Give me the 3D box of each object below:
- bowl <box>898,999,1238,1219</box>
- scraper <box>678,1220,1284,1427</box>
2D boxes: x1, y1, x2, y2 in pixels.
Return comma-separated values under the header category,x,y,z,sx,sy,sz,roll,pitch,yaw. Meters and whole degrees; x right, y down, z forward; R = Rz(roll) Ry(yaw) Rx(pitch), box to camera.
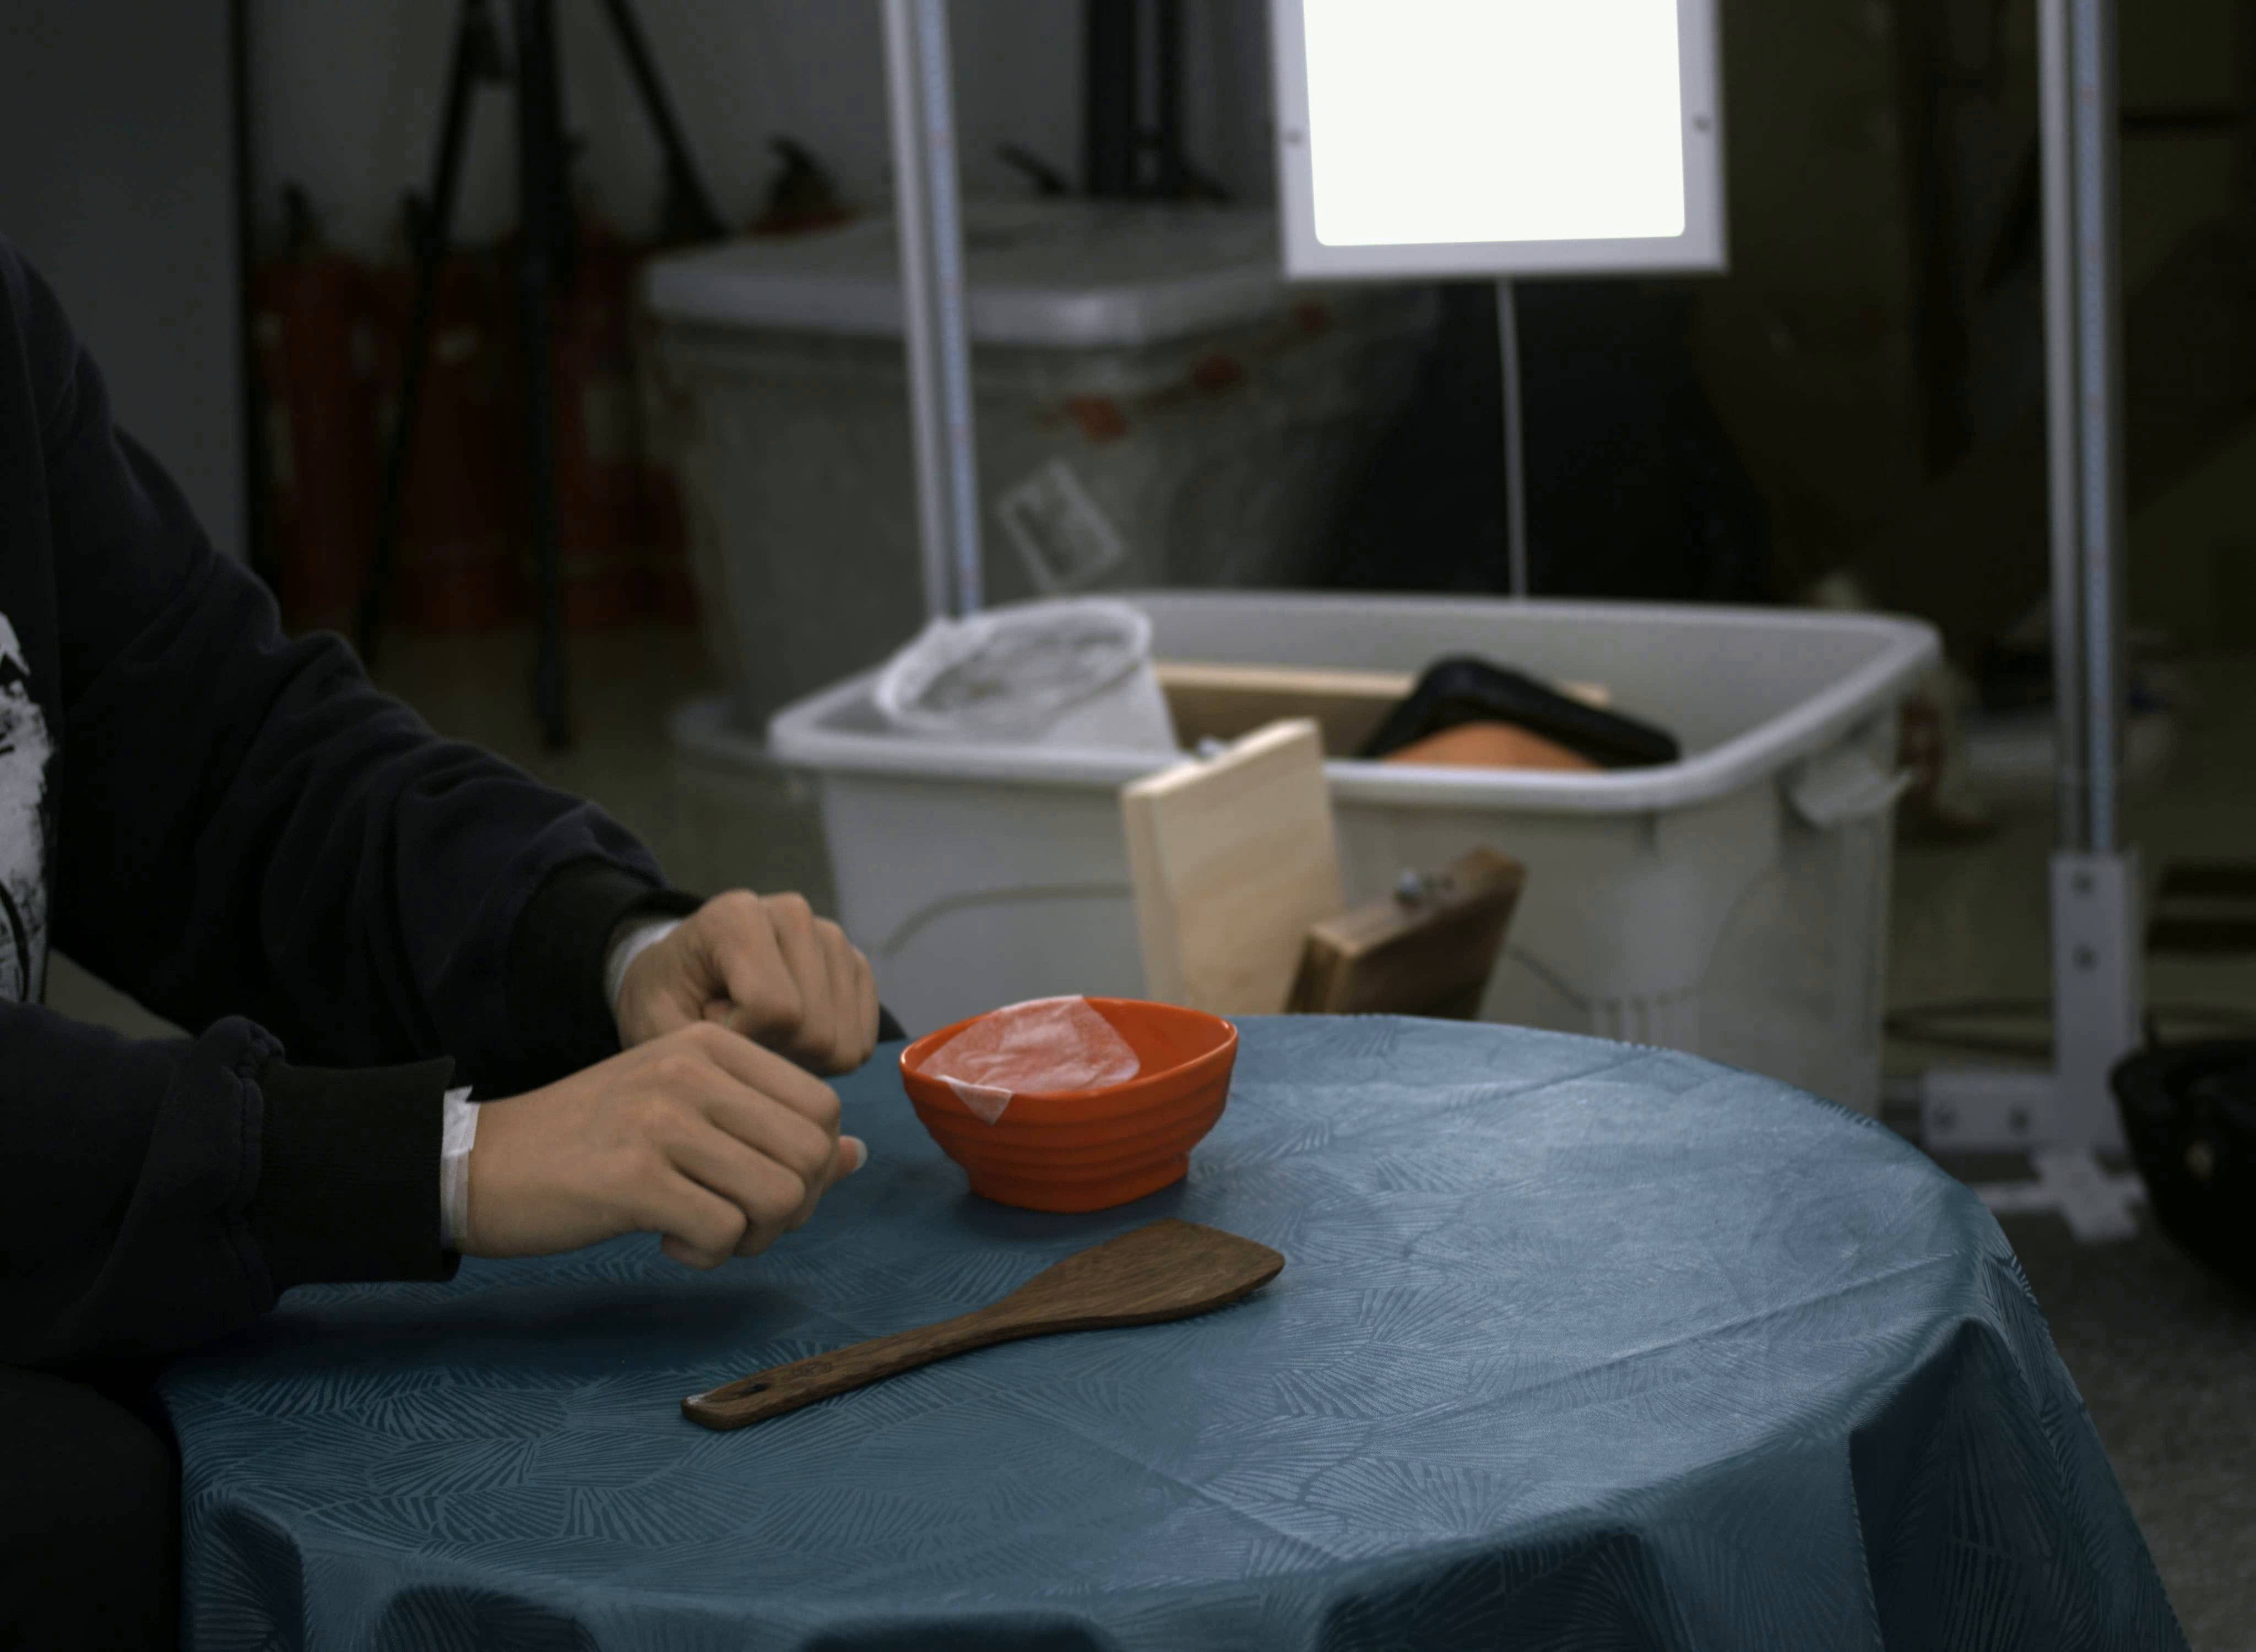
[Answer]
category,x,y,z,sx,sy,sz,roll,pitch,yaw
bowl,-0.019,0.100,1.910,0.118,0.051,0.119,-5,15,0
scraper,-0.049,0.161,1.759,0.206,0.011,0.077,-14,16,-31
